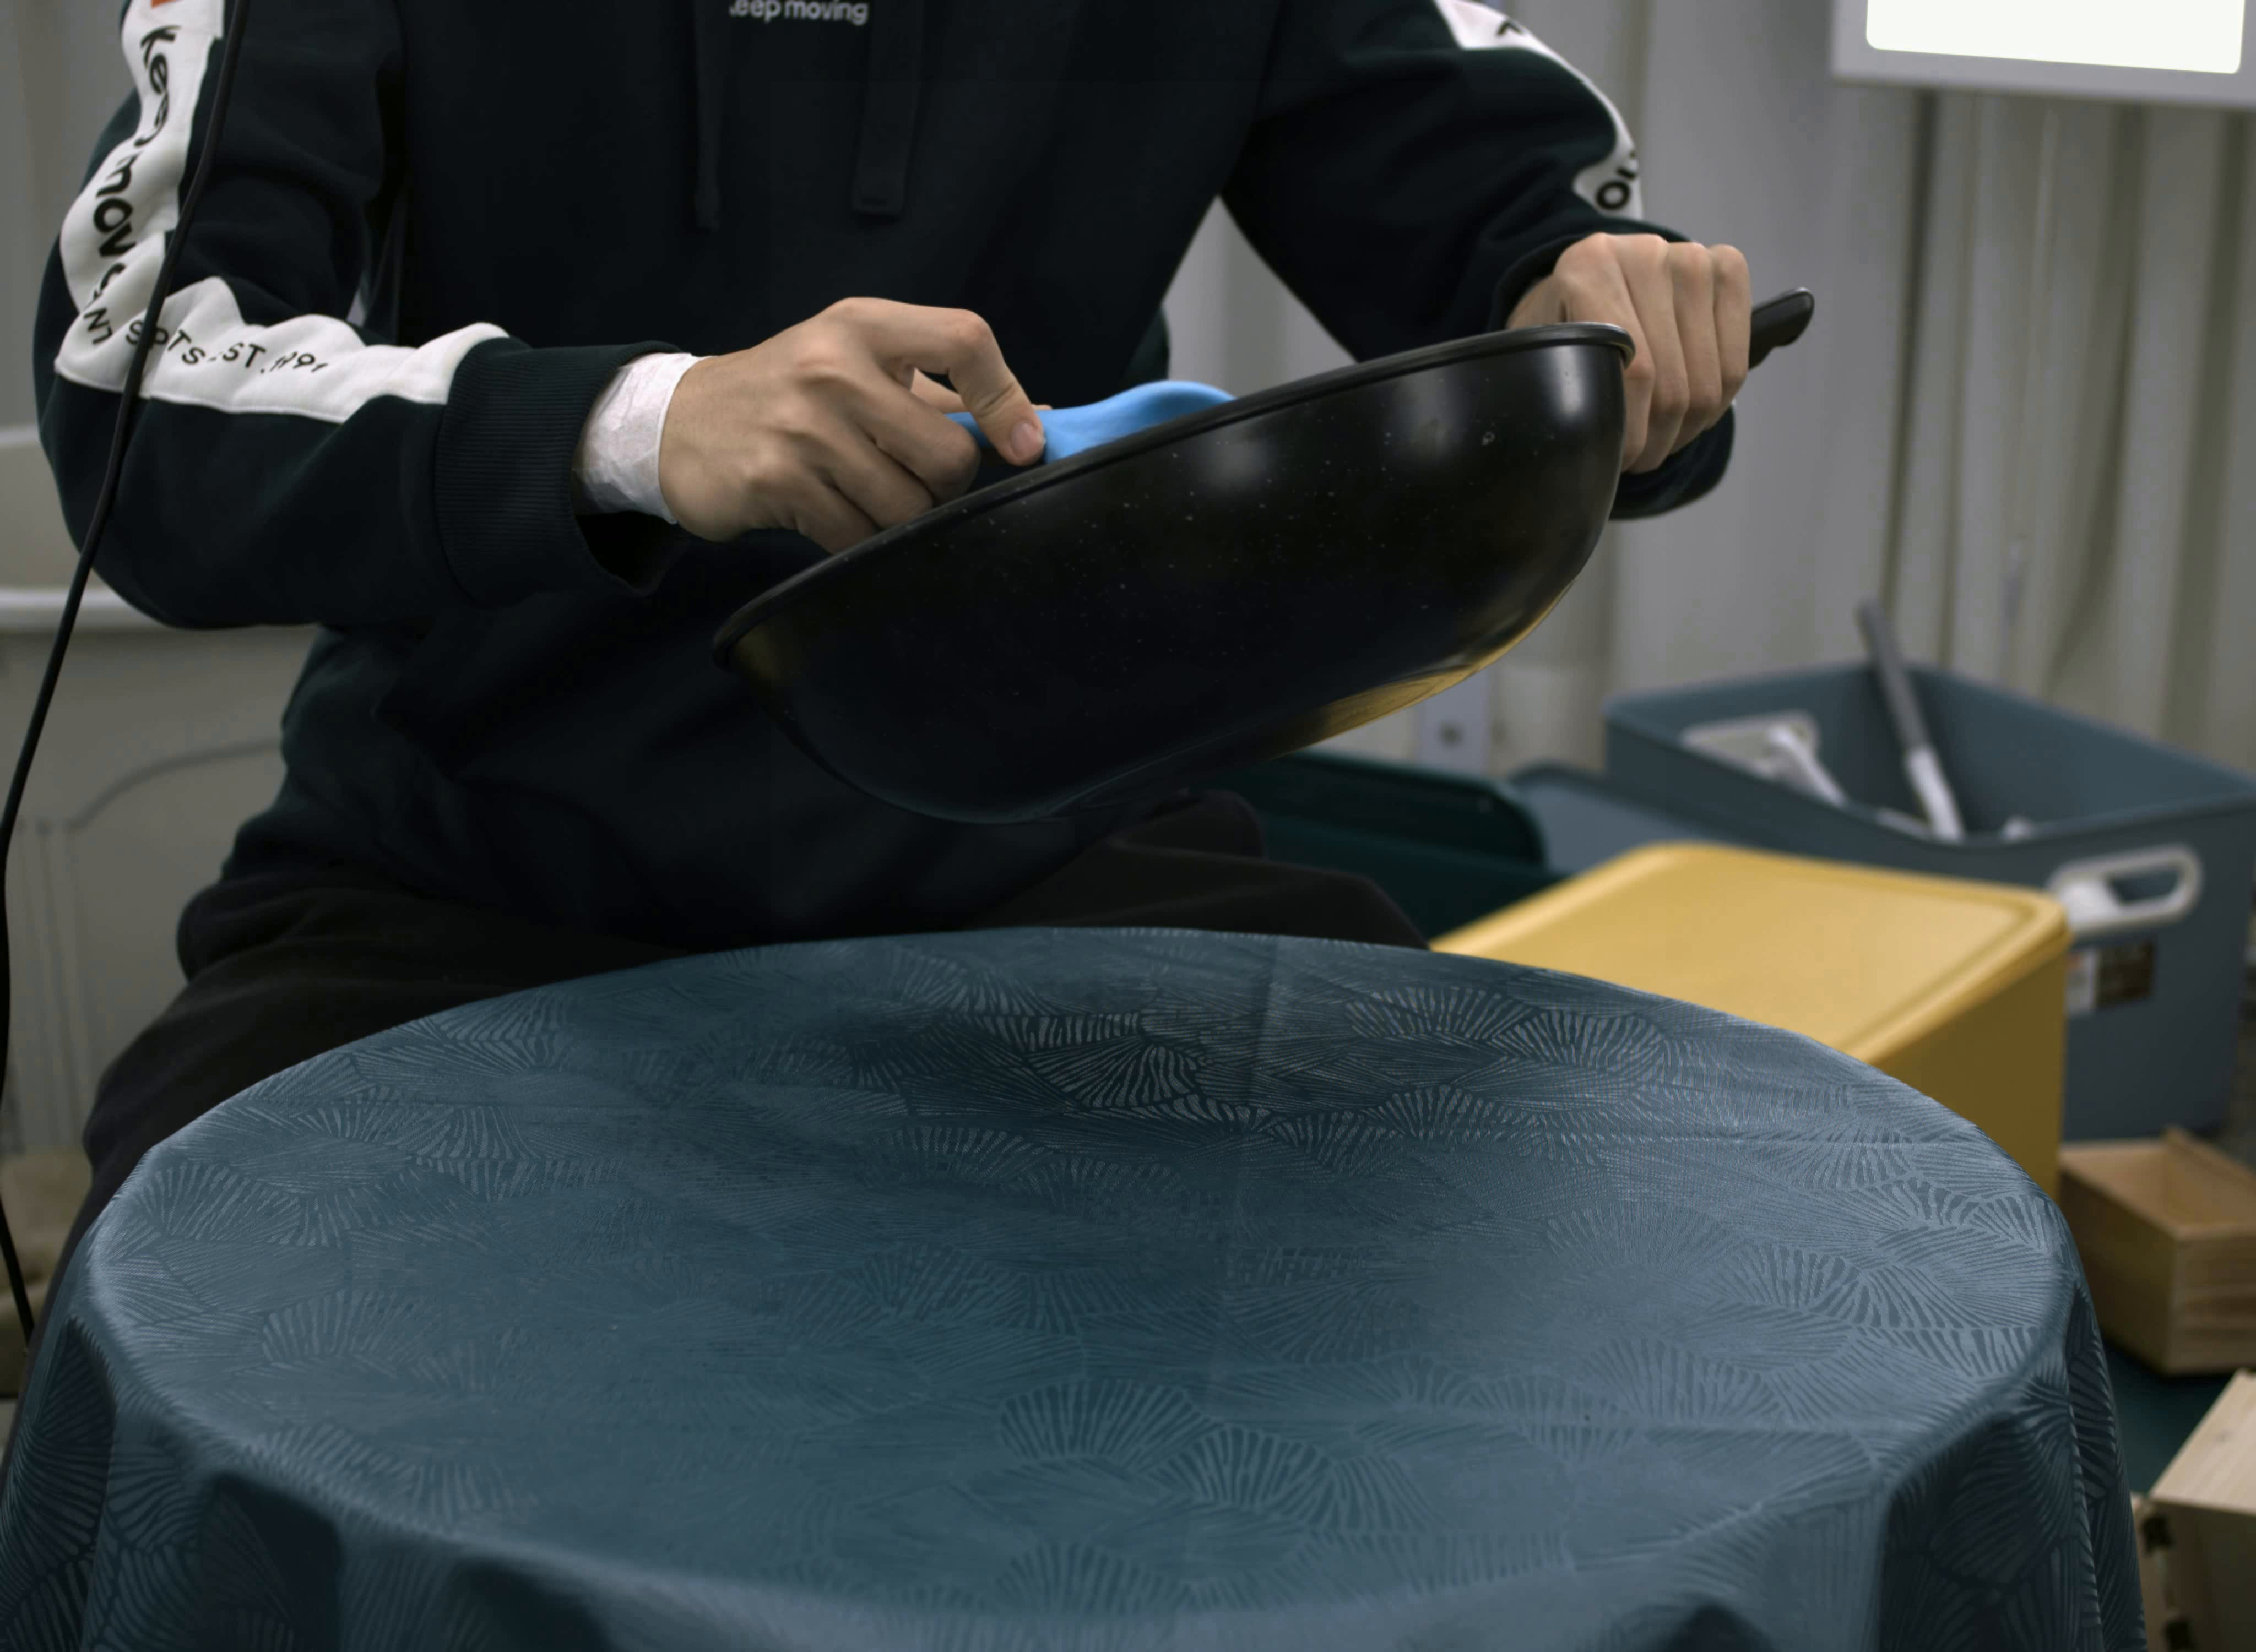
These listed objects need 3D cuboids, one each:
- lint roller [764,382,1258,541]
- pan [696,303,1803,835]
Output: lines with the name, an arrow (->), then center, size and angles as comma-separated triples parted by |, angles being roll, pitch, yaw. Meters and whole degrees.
lint roller -> -0.025, -0.099, 1.700 | 0.180, 0.068, 0.228 | 16, 22, -1
pan -> 0.079, -0.088, 1.717 | 0.479, 0.112, 0.308 | -15, -5, -43
